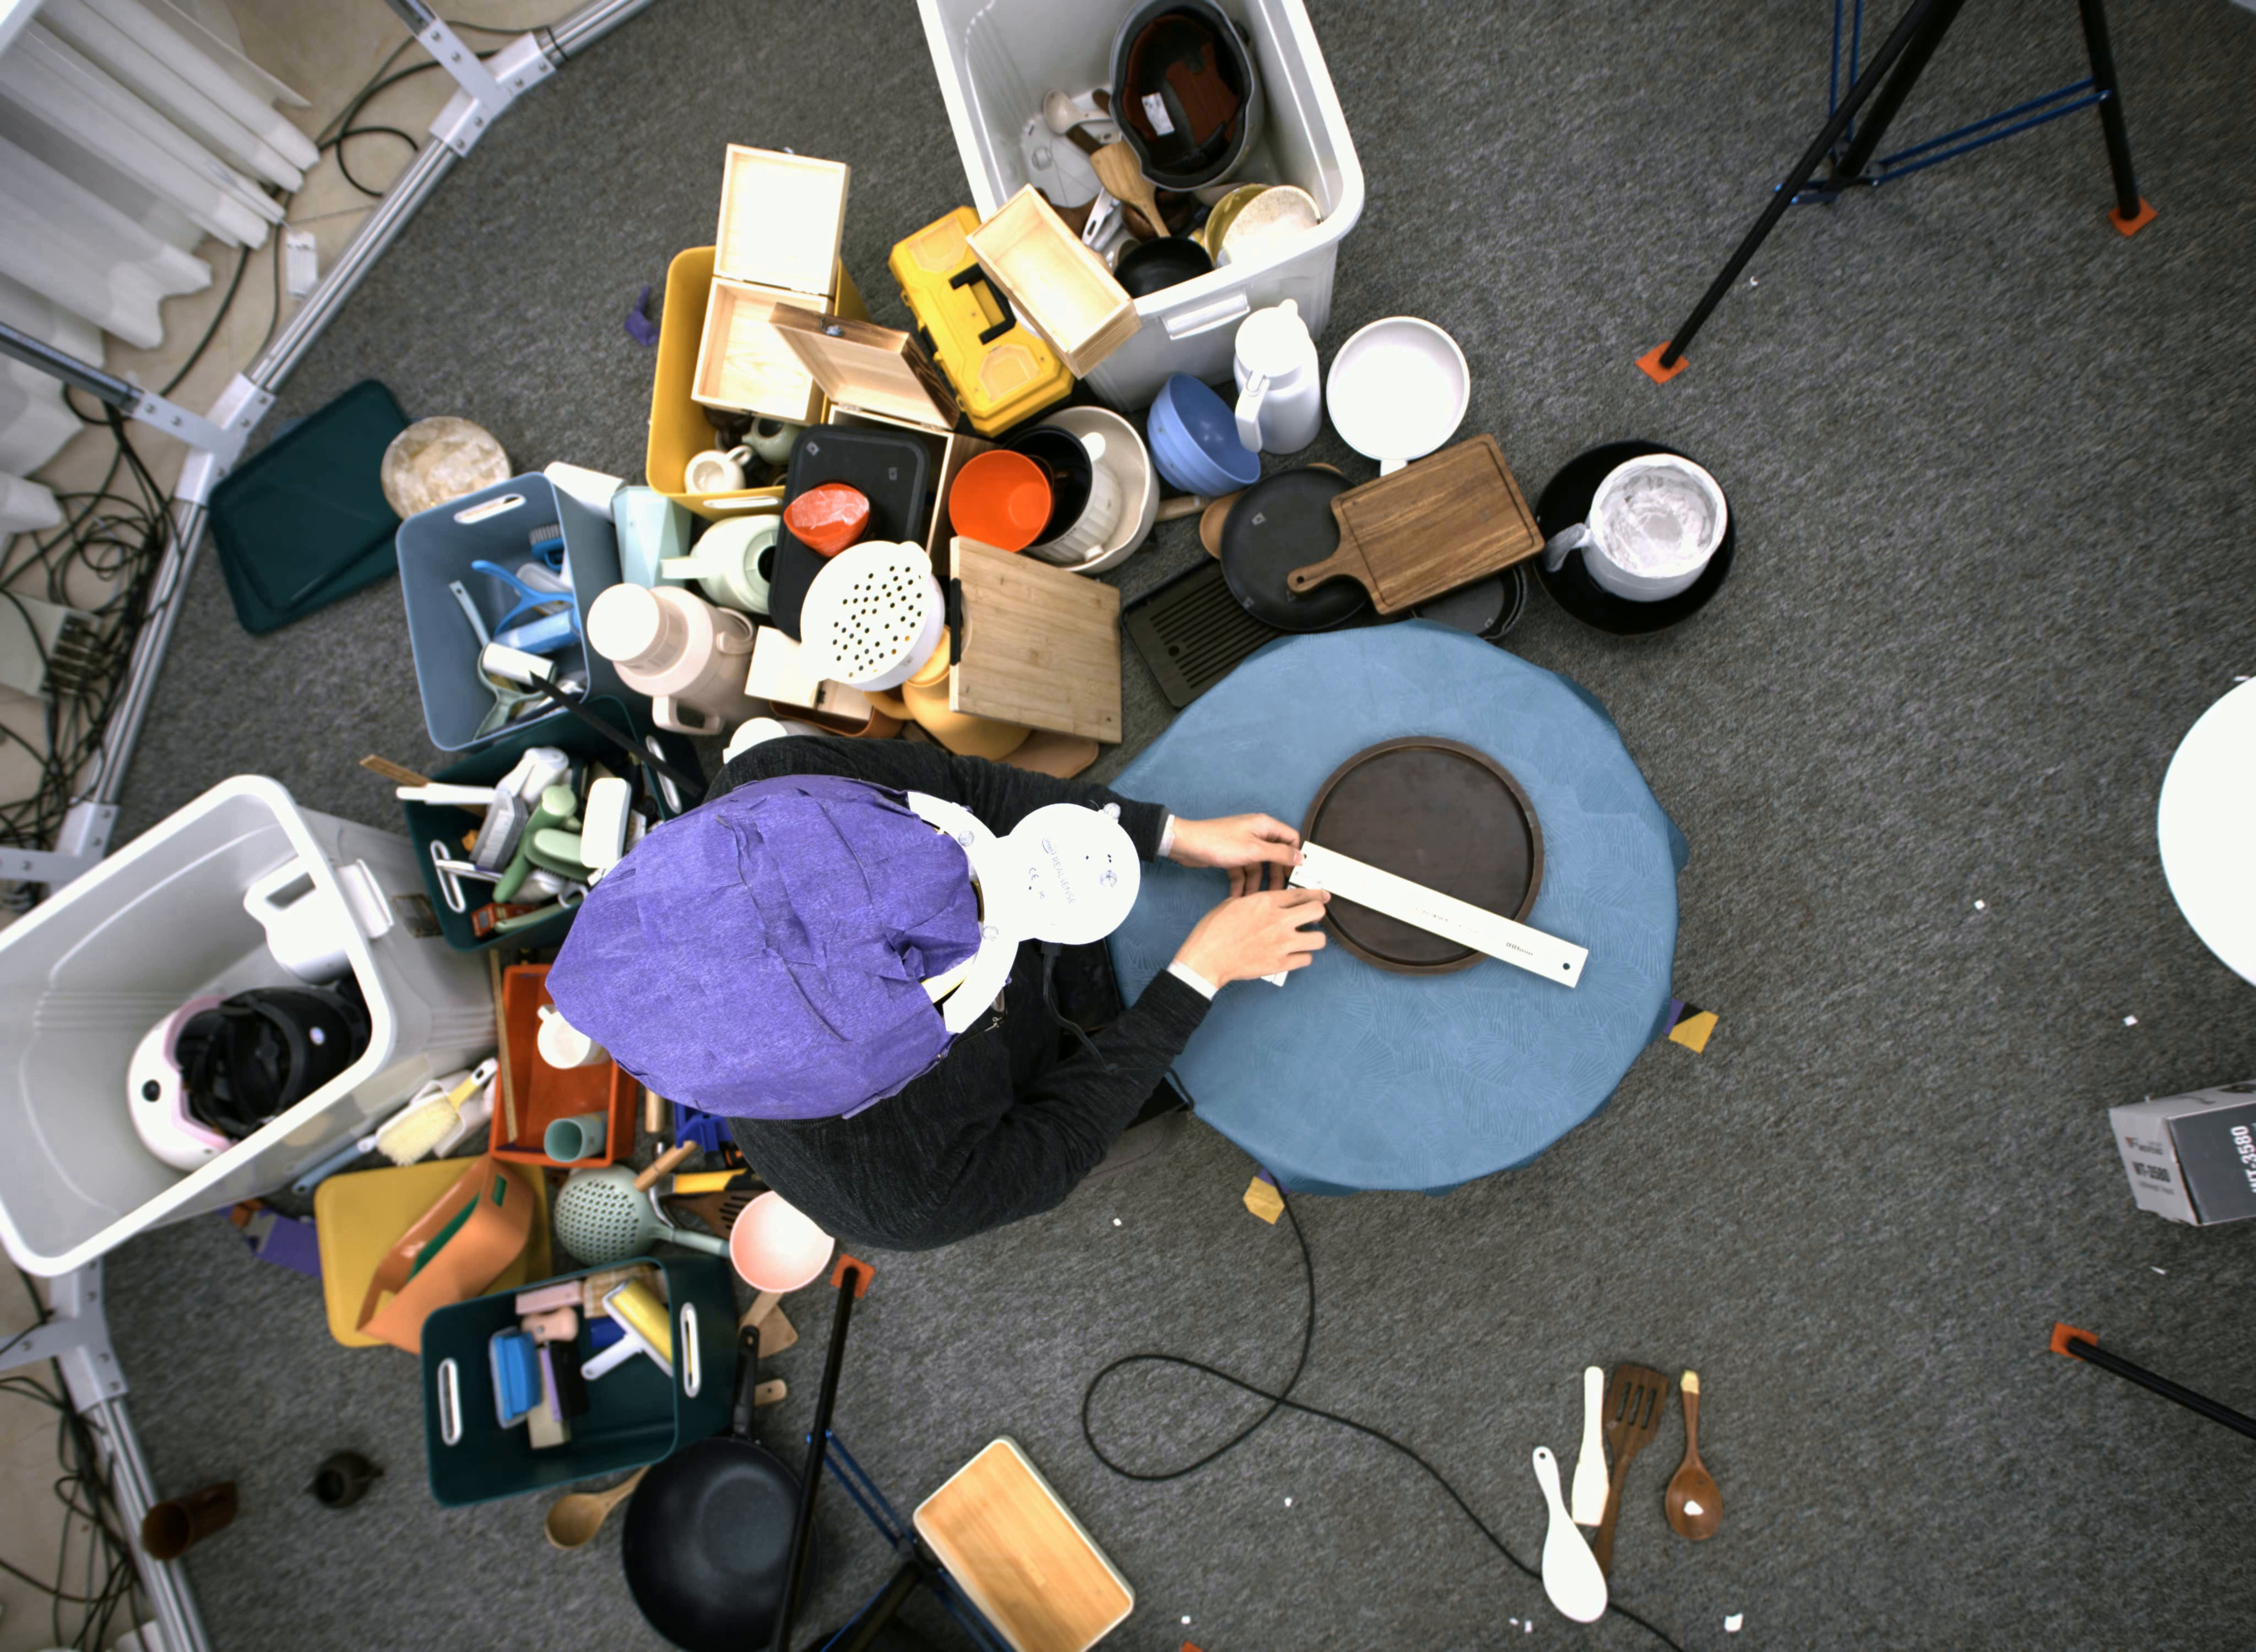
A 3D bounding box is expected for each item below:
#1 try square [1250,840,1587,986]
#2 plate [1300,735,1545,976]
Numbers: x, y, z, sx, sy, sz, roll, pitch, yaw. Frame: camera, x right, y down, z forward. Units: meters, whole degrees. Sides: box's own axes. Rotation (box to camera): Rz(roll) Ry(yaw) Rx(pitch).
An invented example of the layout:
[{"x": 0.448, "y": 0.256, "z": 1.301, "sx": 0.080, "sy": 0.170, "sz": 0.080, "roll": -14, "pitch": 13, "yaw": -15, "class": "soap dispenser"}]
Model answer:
[{"x": 0.297, "y": 0.137, "z": 1.426, "sx": 0.313, "sy": 0.016, "sz": 0.152, "roll": 21, "pitch": 90, "yaw": 10, "class": "try square"}, {"x": 0.306, "y": 0.029, "z": 1.444, "sx": 0.256, "sy": 0.029, "sz": 0.253, "roll": -1, "pitch": 86, "yaw": 10, "class": "plate"}]
